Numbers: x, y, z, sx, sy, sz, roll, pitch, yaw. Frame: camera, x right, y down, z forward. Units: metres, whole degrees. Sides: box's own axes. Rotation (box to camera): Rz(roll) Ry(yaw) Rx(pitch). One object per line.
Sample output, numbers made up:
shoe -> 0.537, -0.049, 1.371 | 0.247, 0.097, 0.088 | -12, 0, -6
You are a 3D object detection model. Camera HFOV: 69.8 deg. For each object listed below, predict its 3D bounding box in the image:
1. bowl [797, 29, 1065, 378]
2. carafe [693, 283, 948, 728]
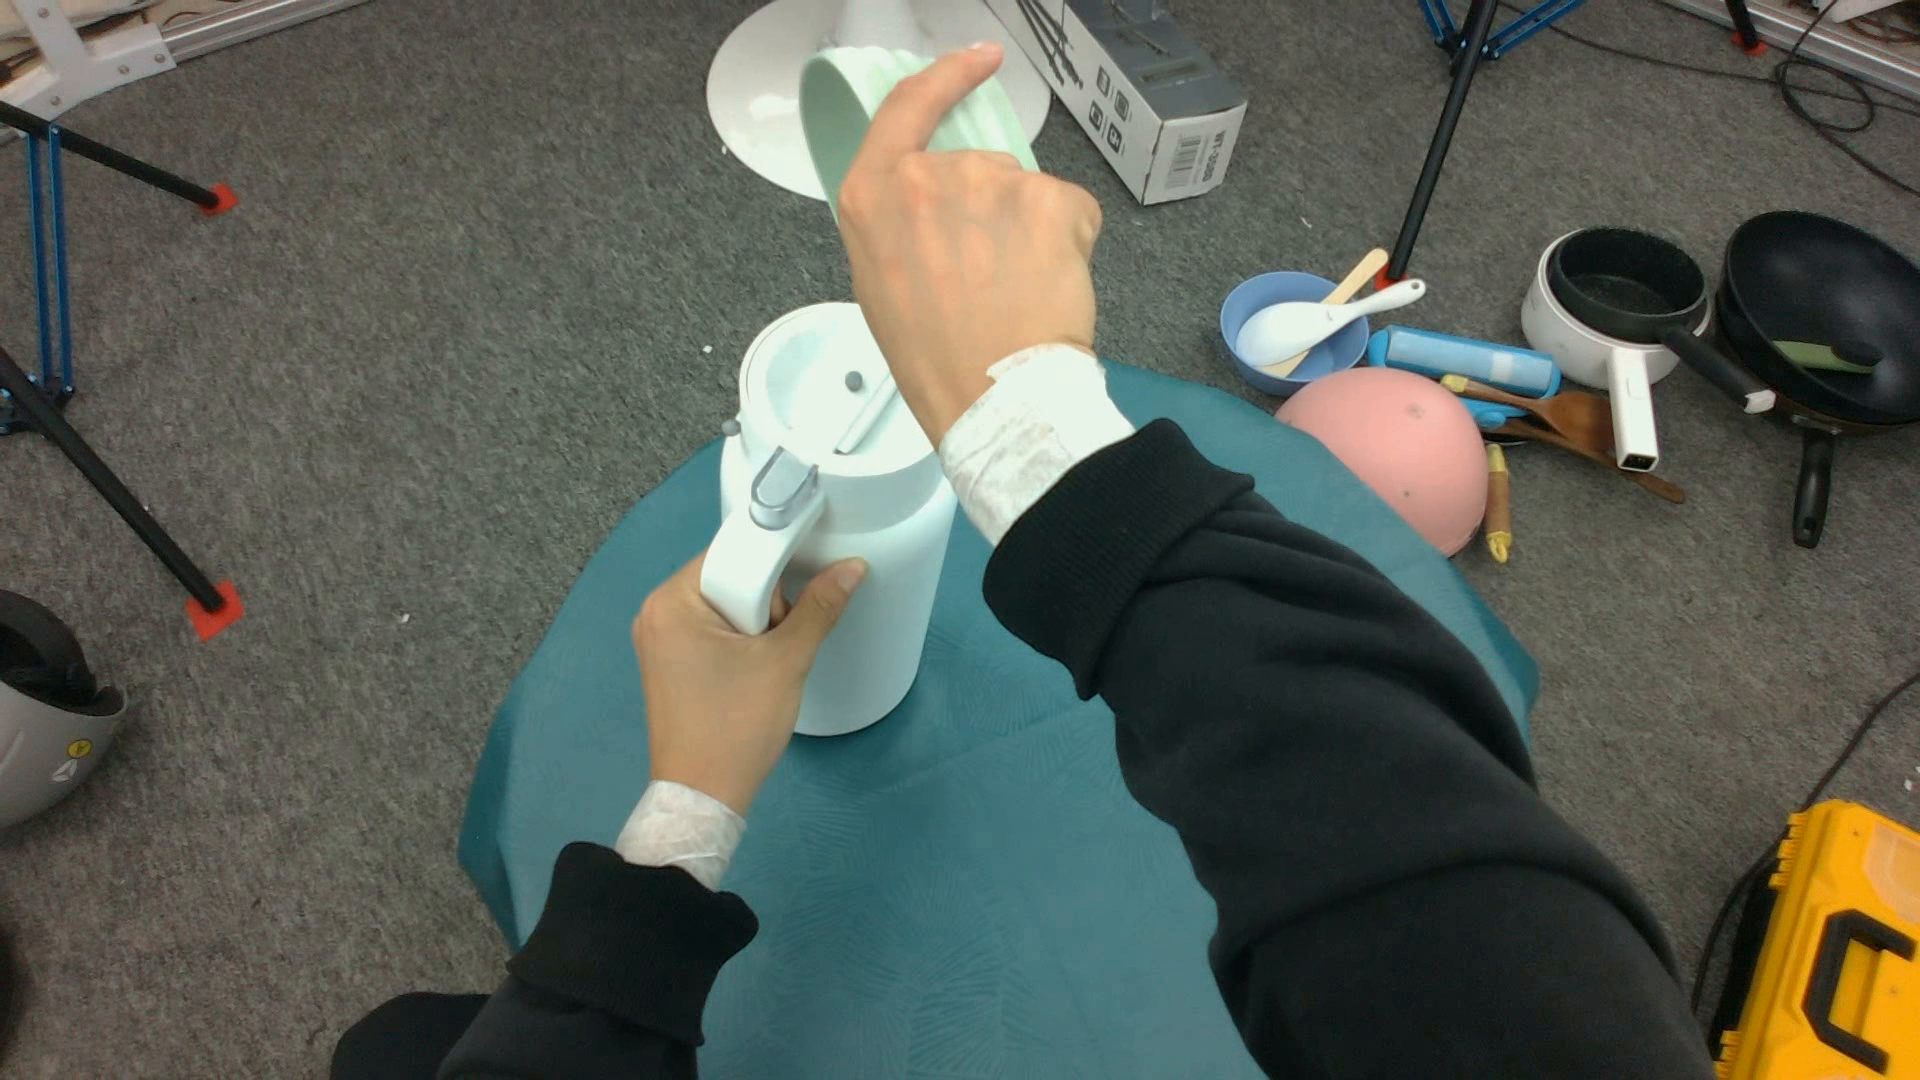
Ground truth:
bowl -> -0.008, -0.139, 0.546 | 0.059, 0.151, 0.152 | -27, 61, -12
carafe -> -0.079, 0.007, 0.713 | 0.124, 0.267, 0.173 | 26, 58, 4
